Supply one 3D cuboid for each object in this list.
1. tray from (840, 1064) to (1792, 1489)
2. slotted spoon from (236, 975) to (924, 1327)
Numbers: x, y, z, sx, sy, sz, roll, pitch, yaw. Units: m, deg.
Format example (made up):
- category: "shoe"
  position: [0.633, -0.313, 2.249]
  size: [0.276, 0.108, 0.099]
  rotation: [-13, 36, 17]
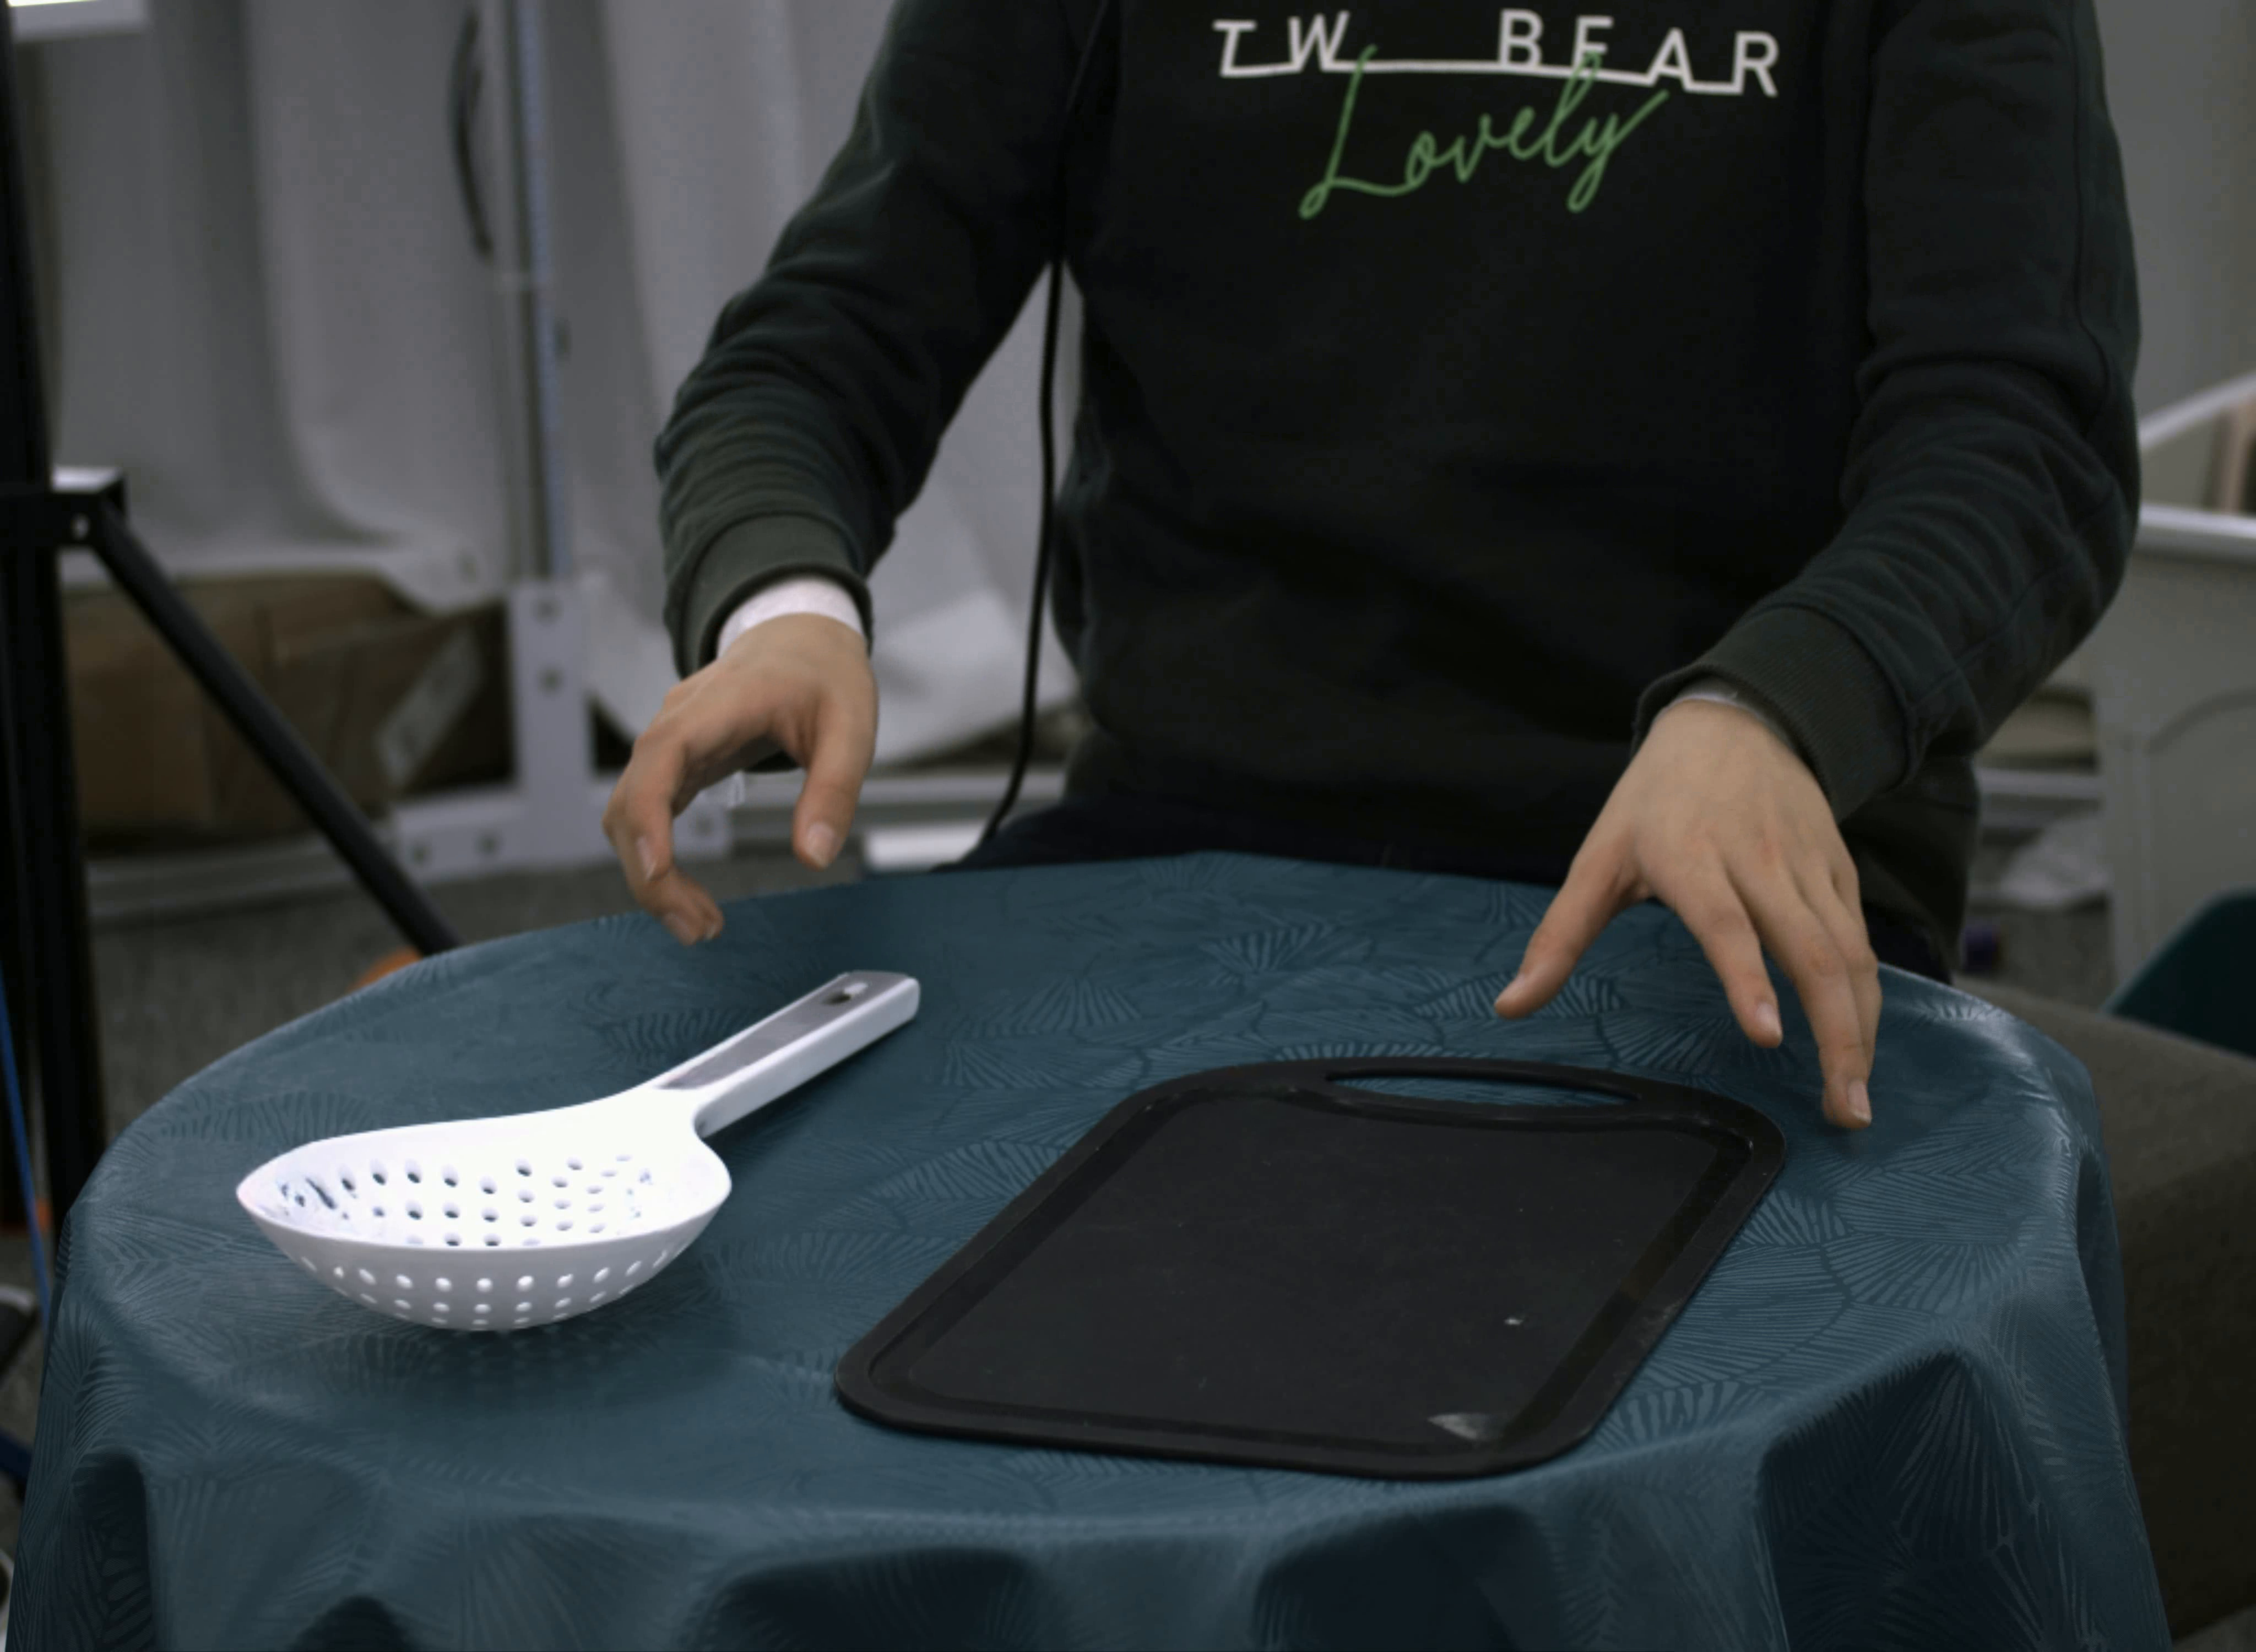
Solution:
- category: "tray"
  position: [0.062, 0.118, 1.500]
  size: [0.214, 0.010, 0.321]
  rotation: [4, 17, 21]
- category: "slotted spoon"
  position: [-0.140, 0.086, 1.574]
  size: [0.138, 0.046, 0.345]
  rotation: [6, 17, 21]
